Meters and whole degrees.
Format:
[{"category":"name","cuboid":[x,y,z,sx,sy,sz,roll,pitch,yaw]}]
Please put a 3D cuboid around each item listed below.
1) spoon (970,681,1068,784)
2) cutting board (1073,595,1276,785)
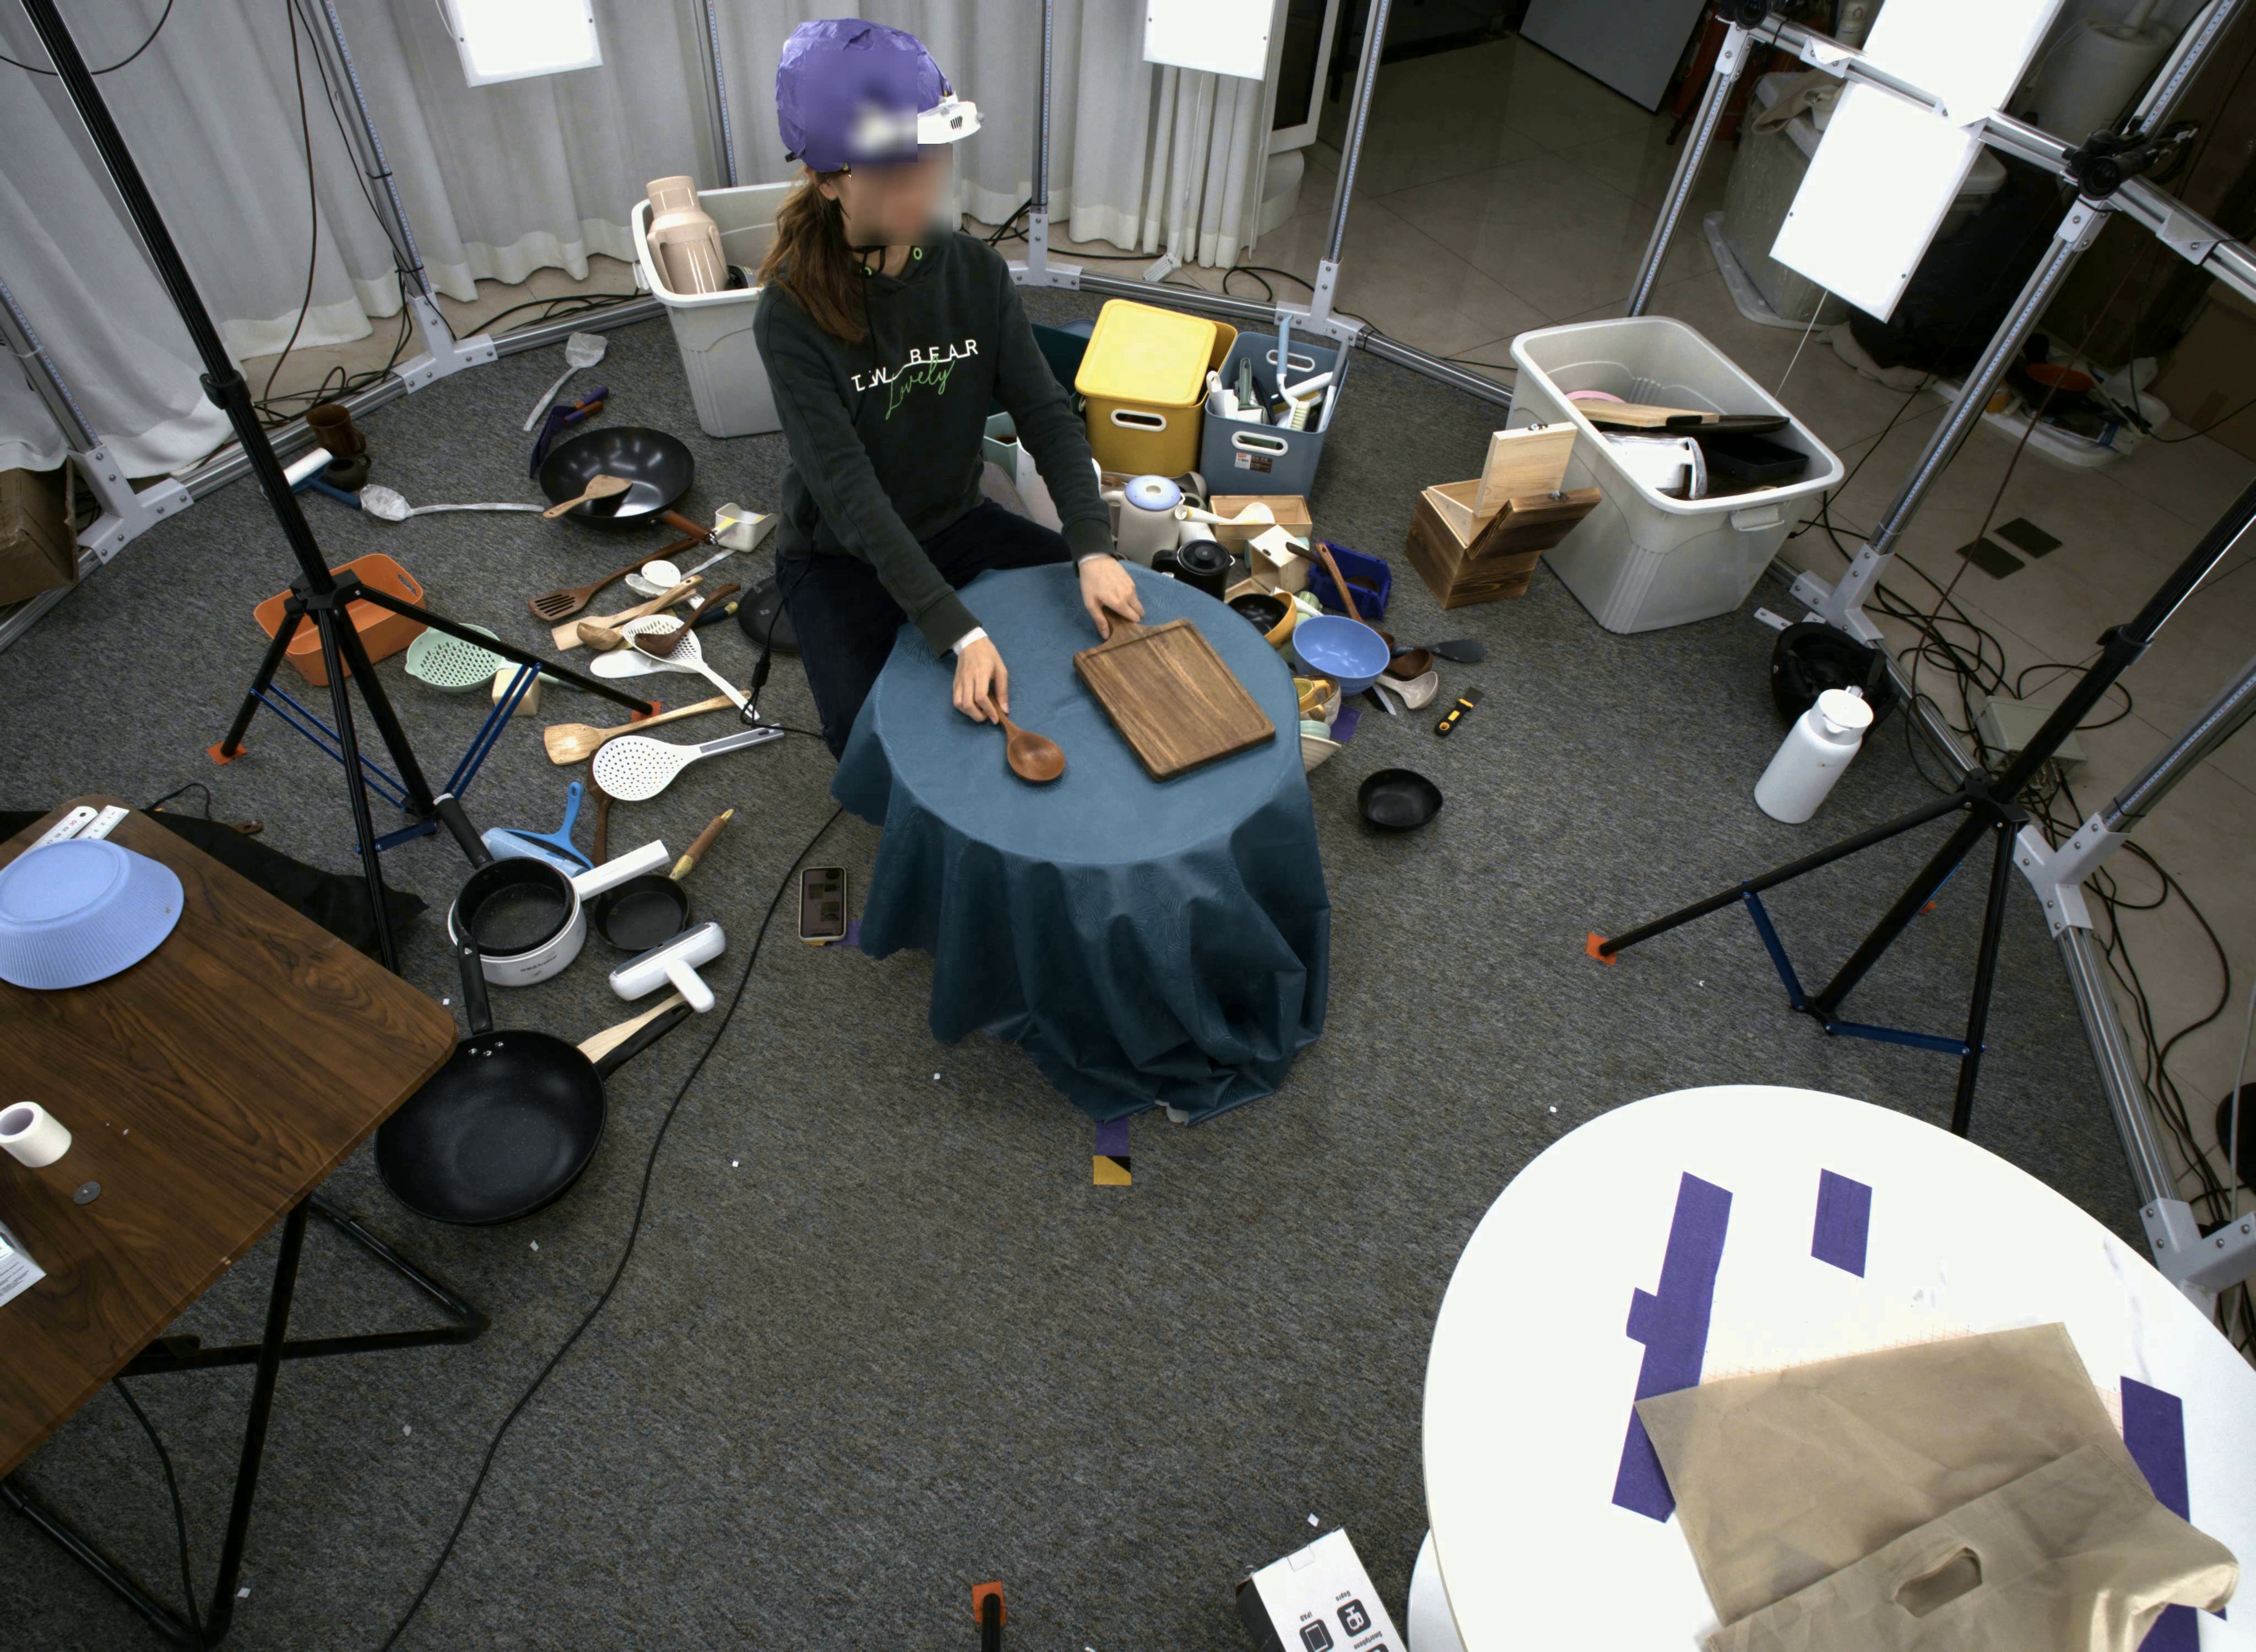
[{"category":"spoon","cuboid":[-0.157,-0.131,1.776,0.076,0.017,0.220,-26,56,-22]},{"category":"cutting board","cuboid":[0.041,-0.218,1.856,0.201,0.022,0.359,-21,56,-20]}]
